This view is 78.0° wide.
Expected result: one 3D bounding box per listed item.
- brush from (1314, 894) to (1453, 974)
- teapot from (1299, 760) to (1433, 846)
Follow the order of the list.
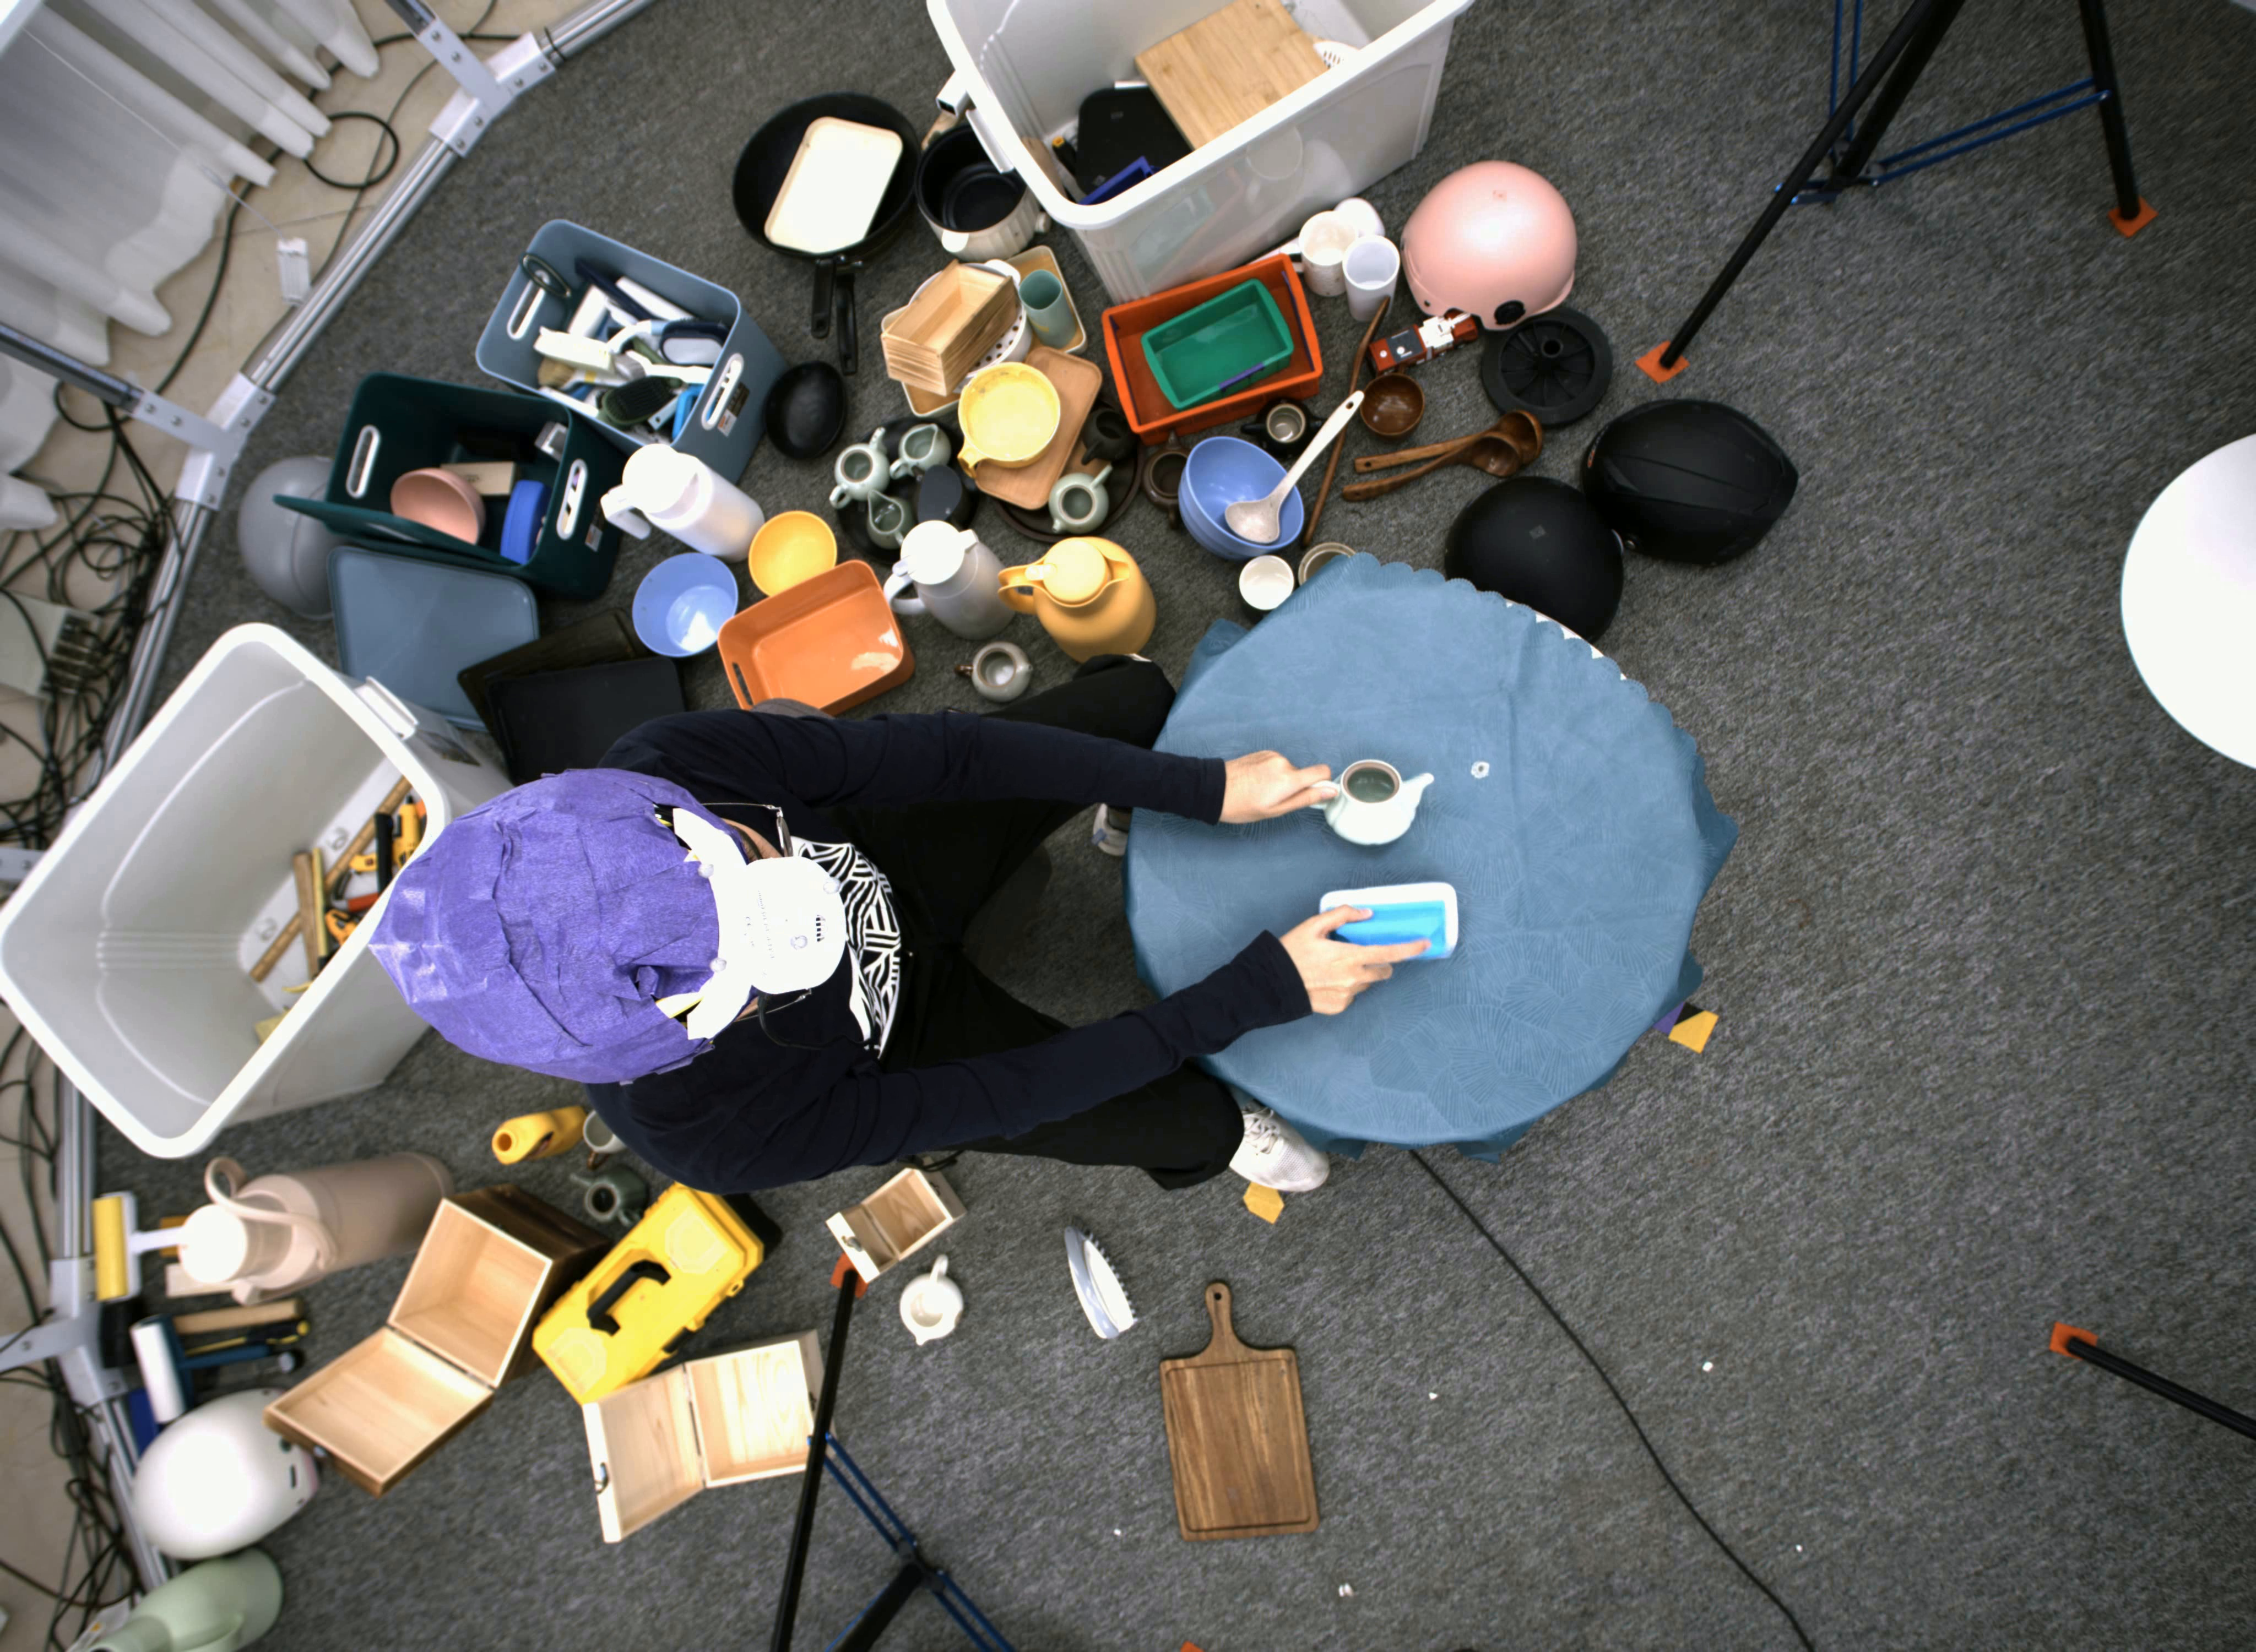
[{"bbox_3d":[0.263,0.113,1.411,0.144,0.055,0.085,-2,104,3],"label":"brush"},{"bbox_3d":[0.245,-0.029,1.427,0.137,0.063,0.094,-4,59,2],"label":"teapot"}]
